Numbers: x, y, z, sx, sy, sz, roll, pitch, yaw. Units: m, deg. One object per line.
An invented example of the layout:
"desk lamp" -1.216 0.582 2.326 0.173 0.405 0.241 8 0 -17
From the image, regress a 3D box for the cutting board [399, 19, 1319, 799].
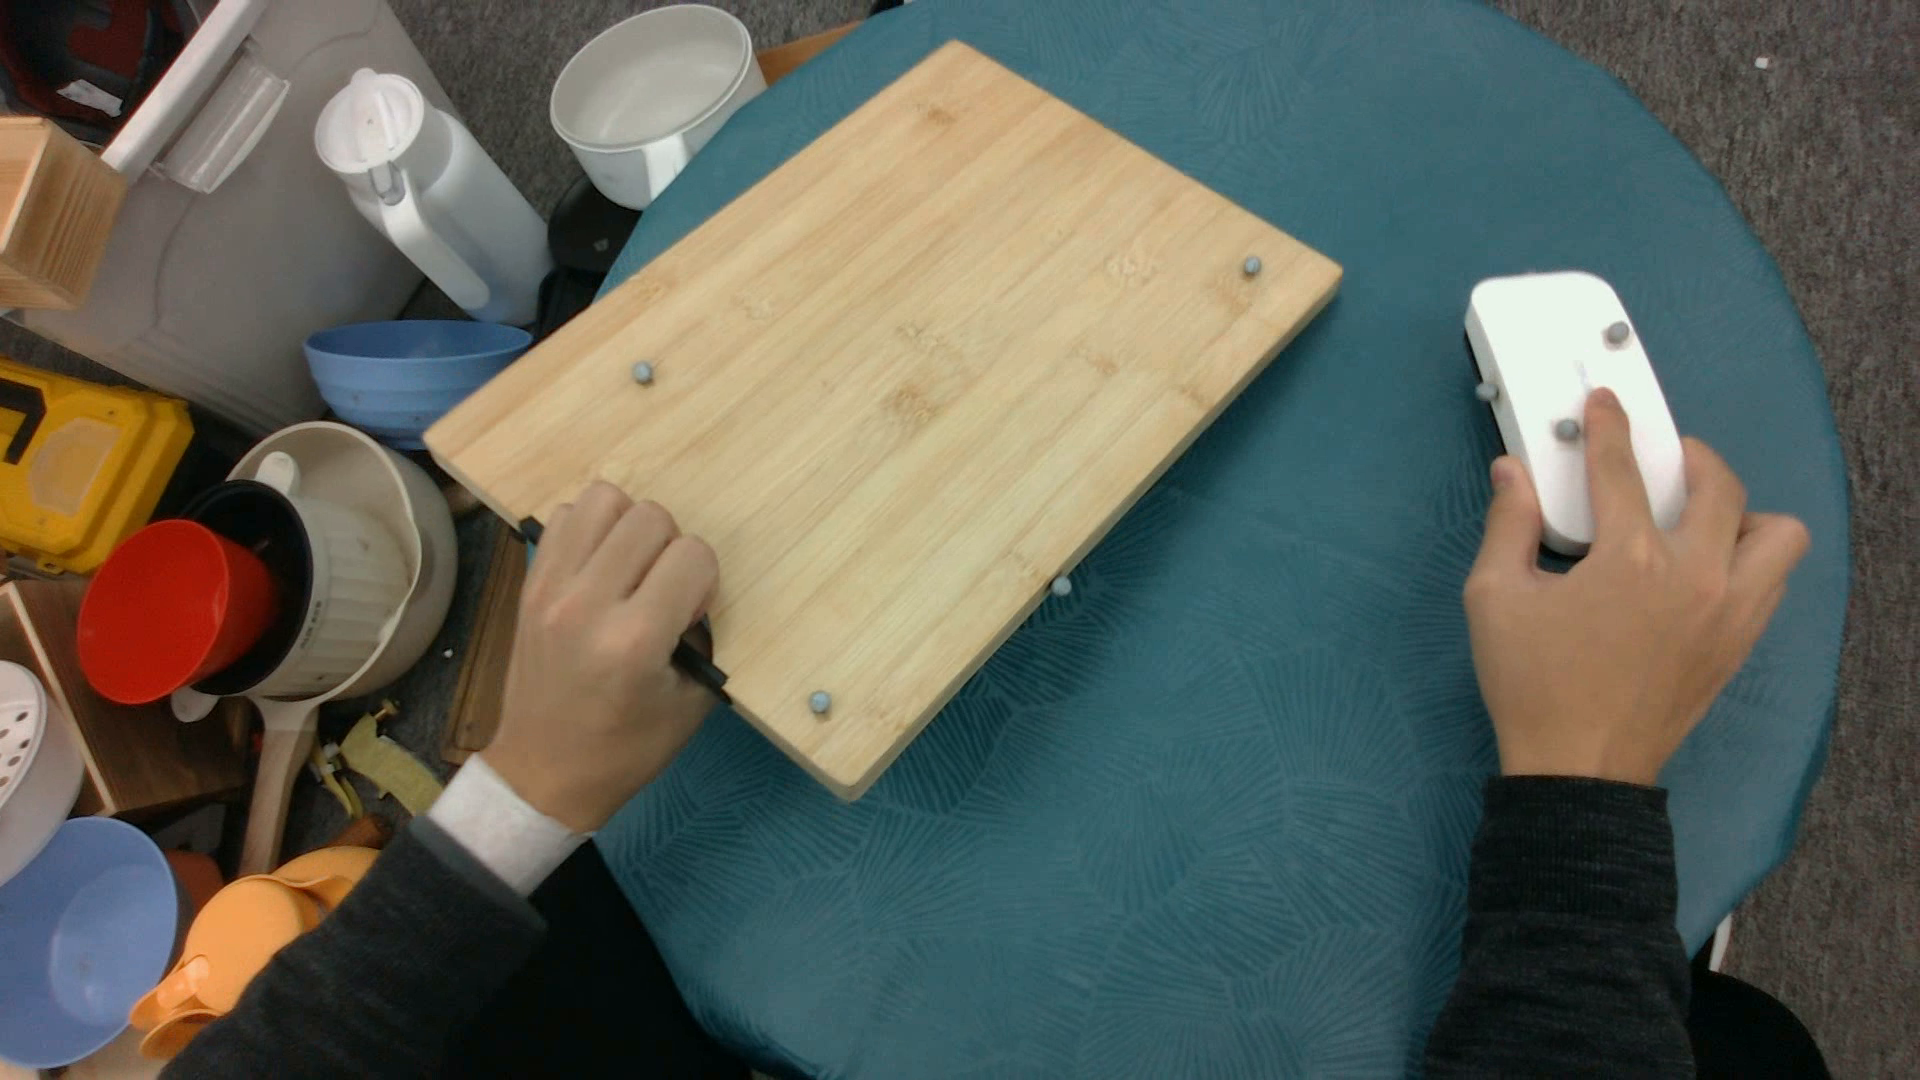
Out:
"cutting board" -0.033 -0.085 0.617 0.251 0.023 0.350 35 65 18

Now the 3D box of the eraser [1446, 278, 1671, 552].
"eraser" 0.246 -0.056 0.578 0.063 0.034 0.132 -3 57 0
